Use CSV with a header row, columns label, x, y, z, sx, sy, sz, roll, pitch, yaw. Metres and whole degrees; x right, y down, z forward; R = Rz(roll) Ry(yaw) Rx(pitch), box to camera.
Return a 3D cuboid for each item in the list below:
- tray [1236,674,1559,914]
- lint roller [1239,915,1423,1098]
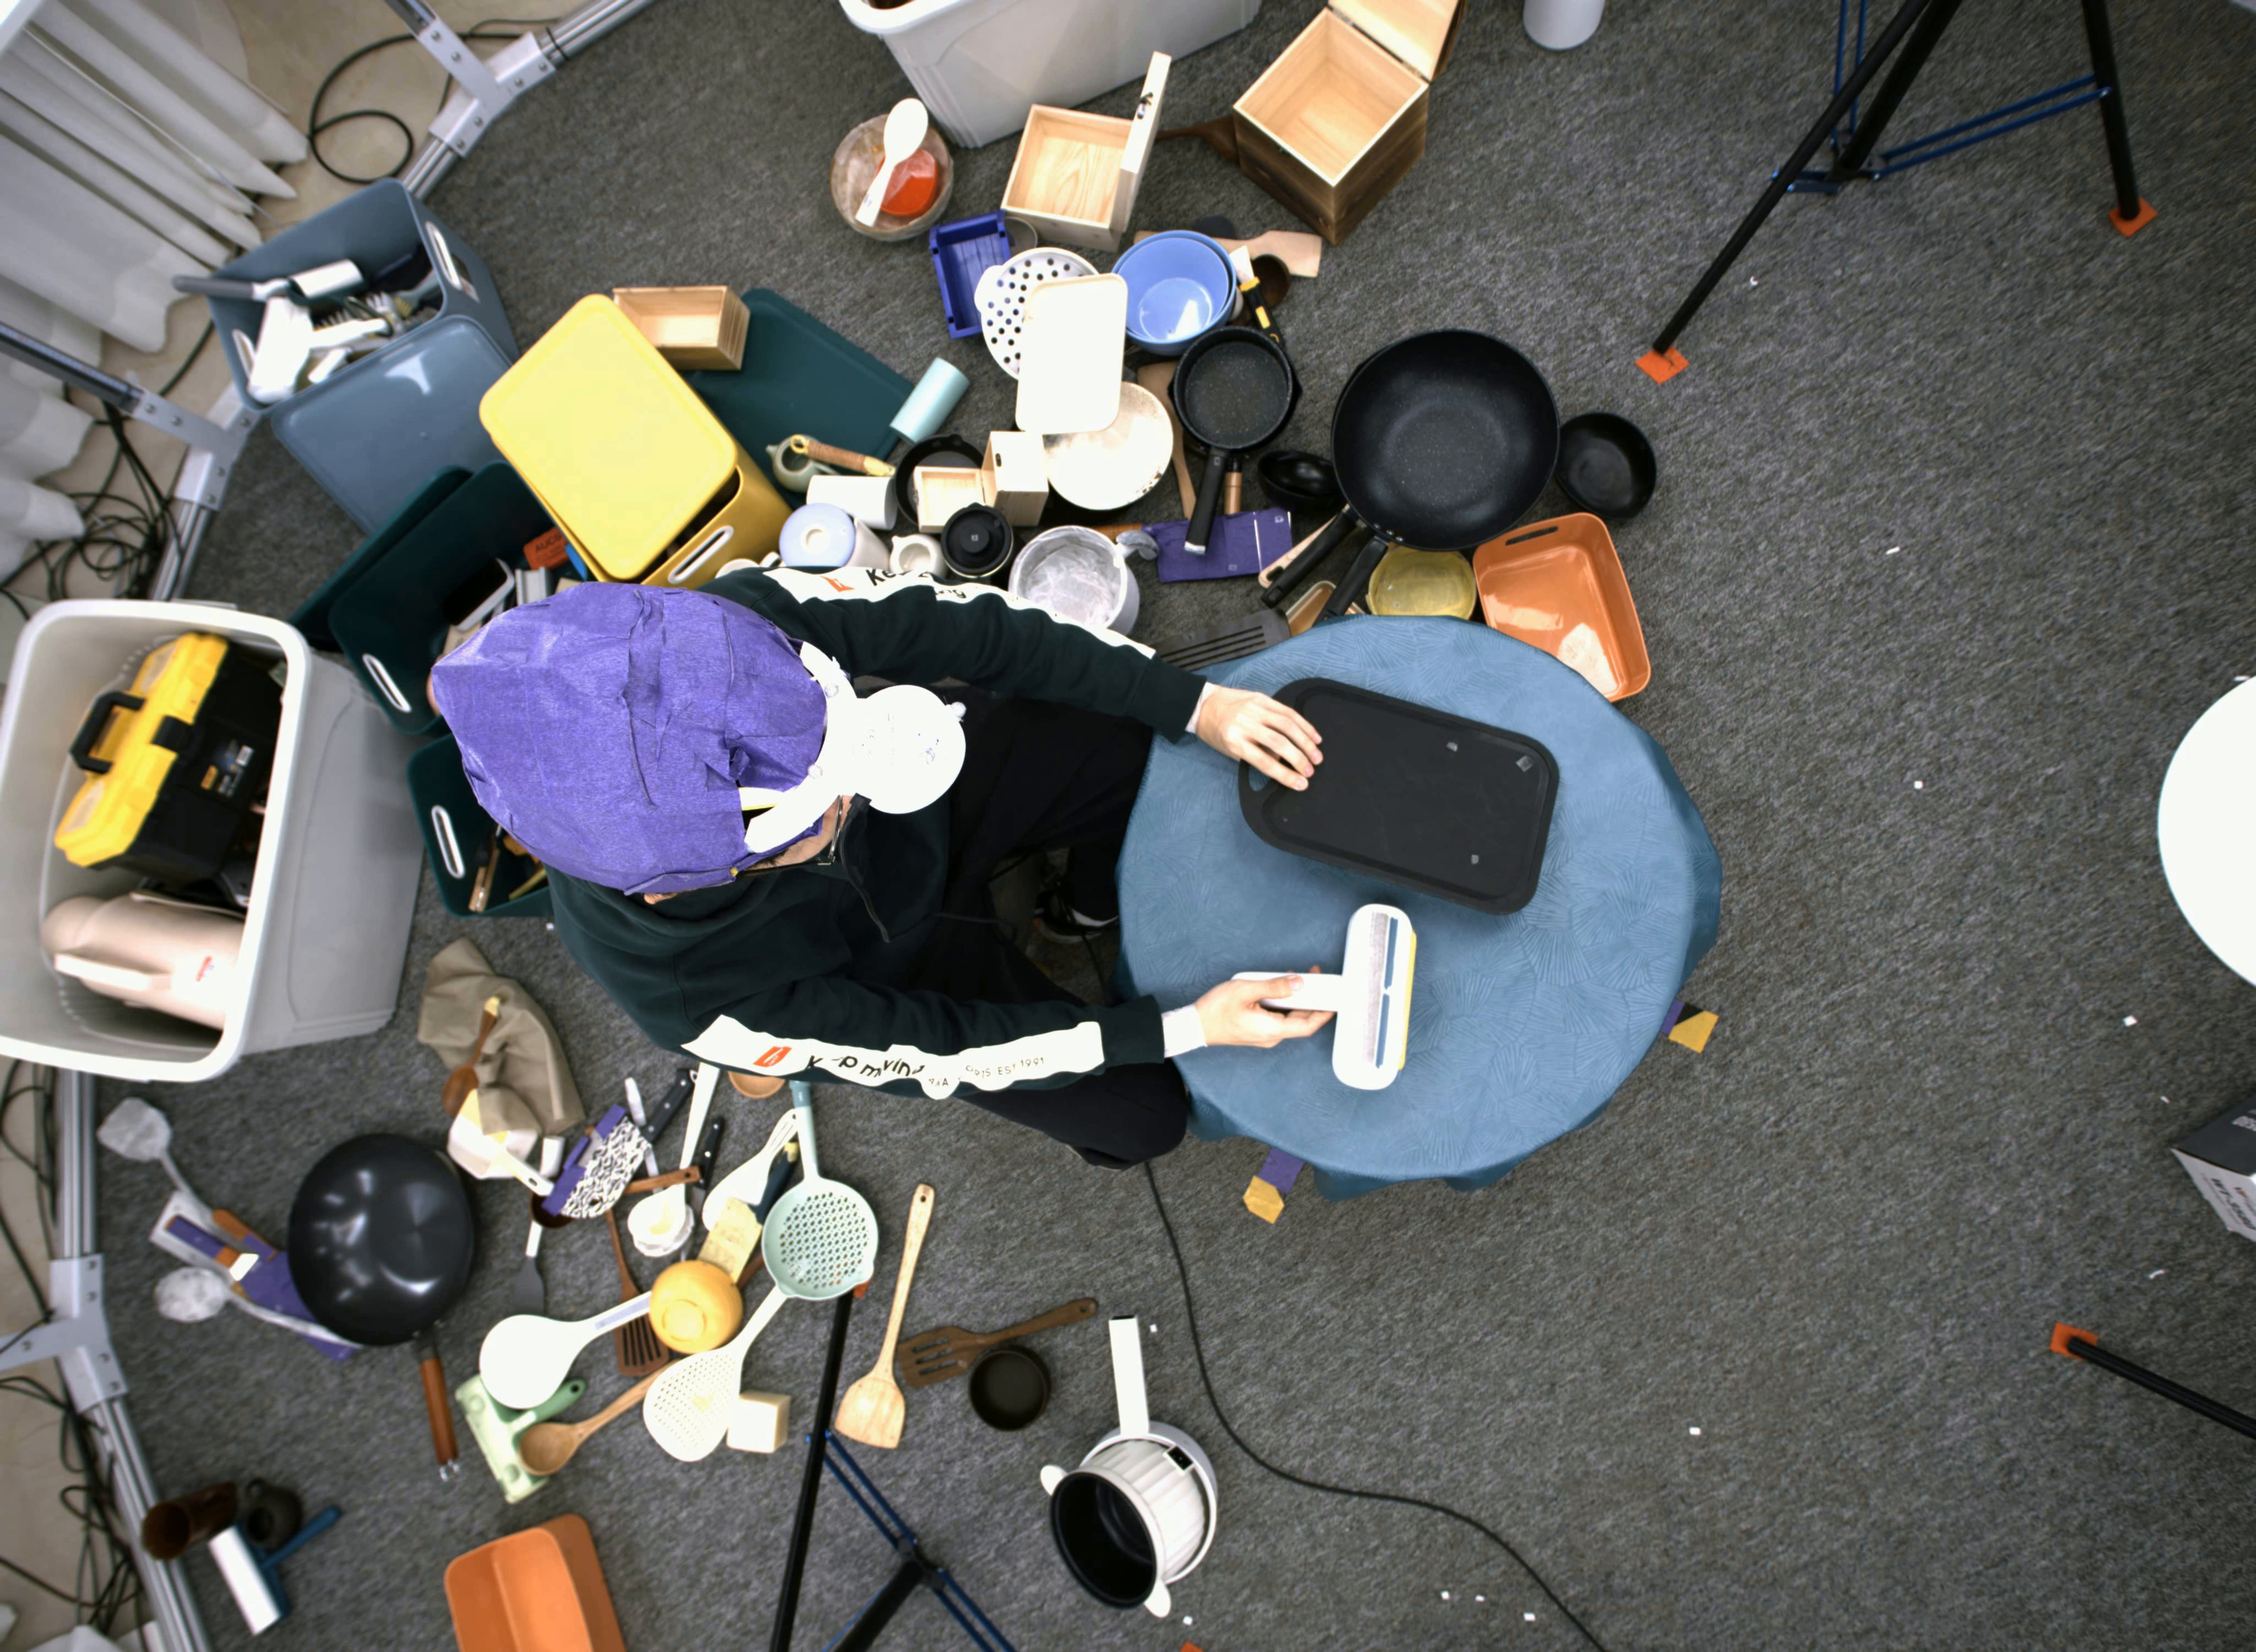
label,x,y,z,sx,sy,sz,roll,pitch,yaw
tray,0.272,-0.041,1.406,0.326,0.010,0.207,18,69,5
lint roller,0.199,0.179,1.437,0.193,0.075,0.189,6,70,27
